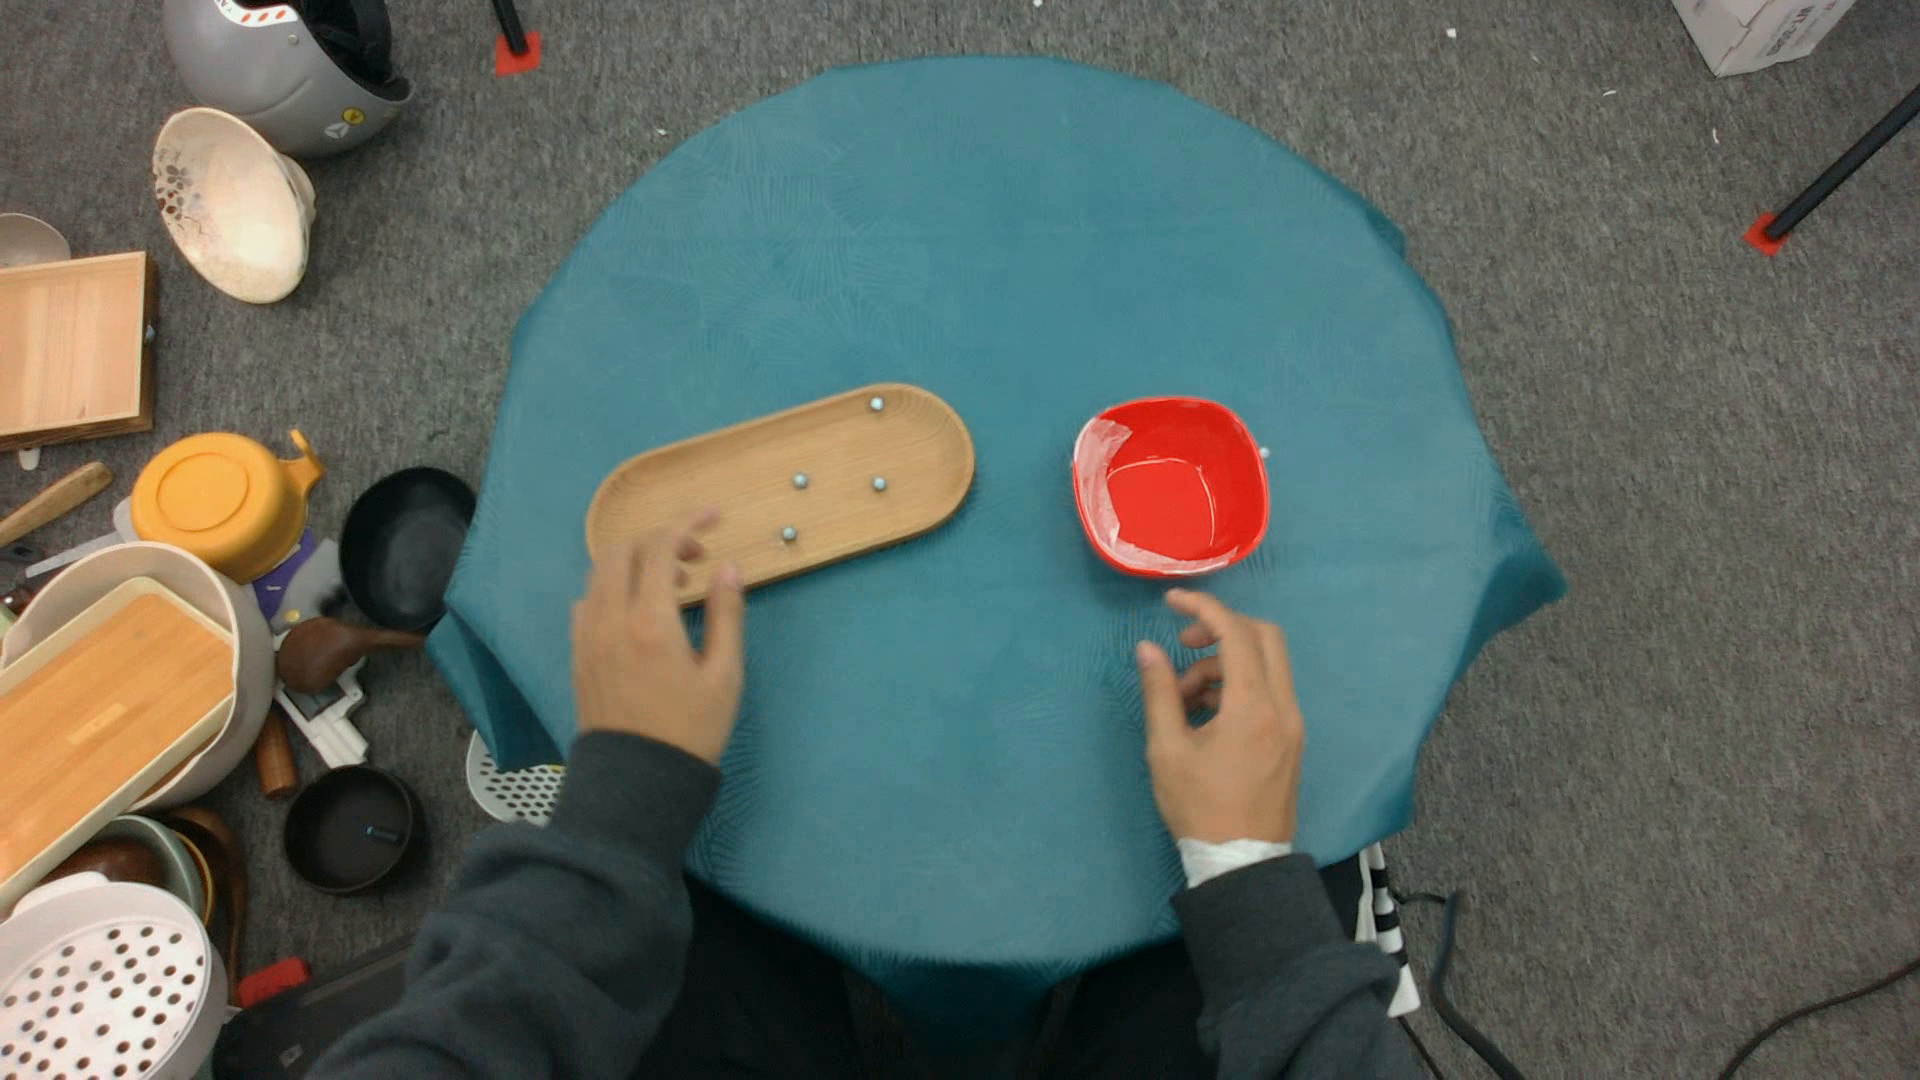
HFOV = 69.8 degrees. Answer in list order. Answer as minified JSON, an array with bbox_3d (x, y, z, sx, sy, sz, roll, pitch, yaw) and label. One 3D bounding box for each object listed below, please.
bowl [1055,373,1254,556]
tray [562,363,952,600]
[{"bbox_3d":[0.108,-0.036,0.794,0.119,0.051,0.119,1,67,-2],"label":"bowl"},{"bbox_3d":[-0.117,-0.035,0.806,0.231,0.020,0.102,-20,70,-8],"label":"tray"}]
